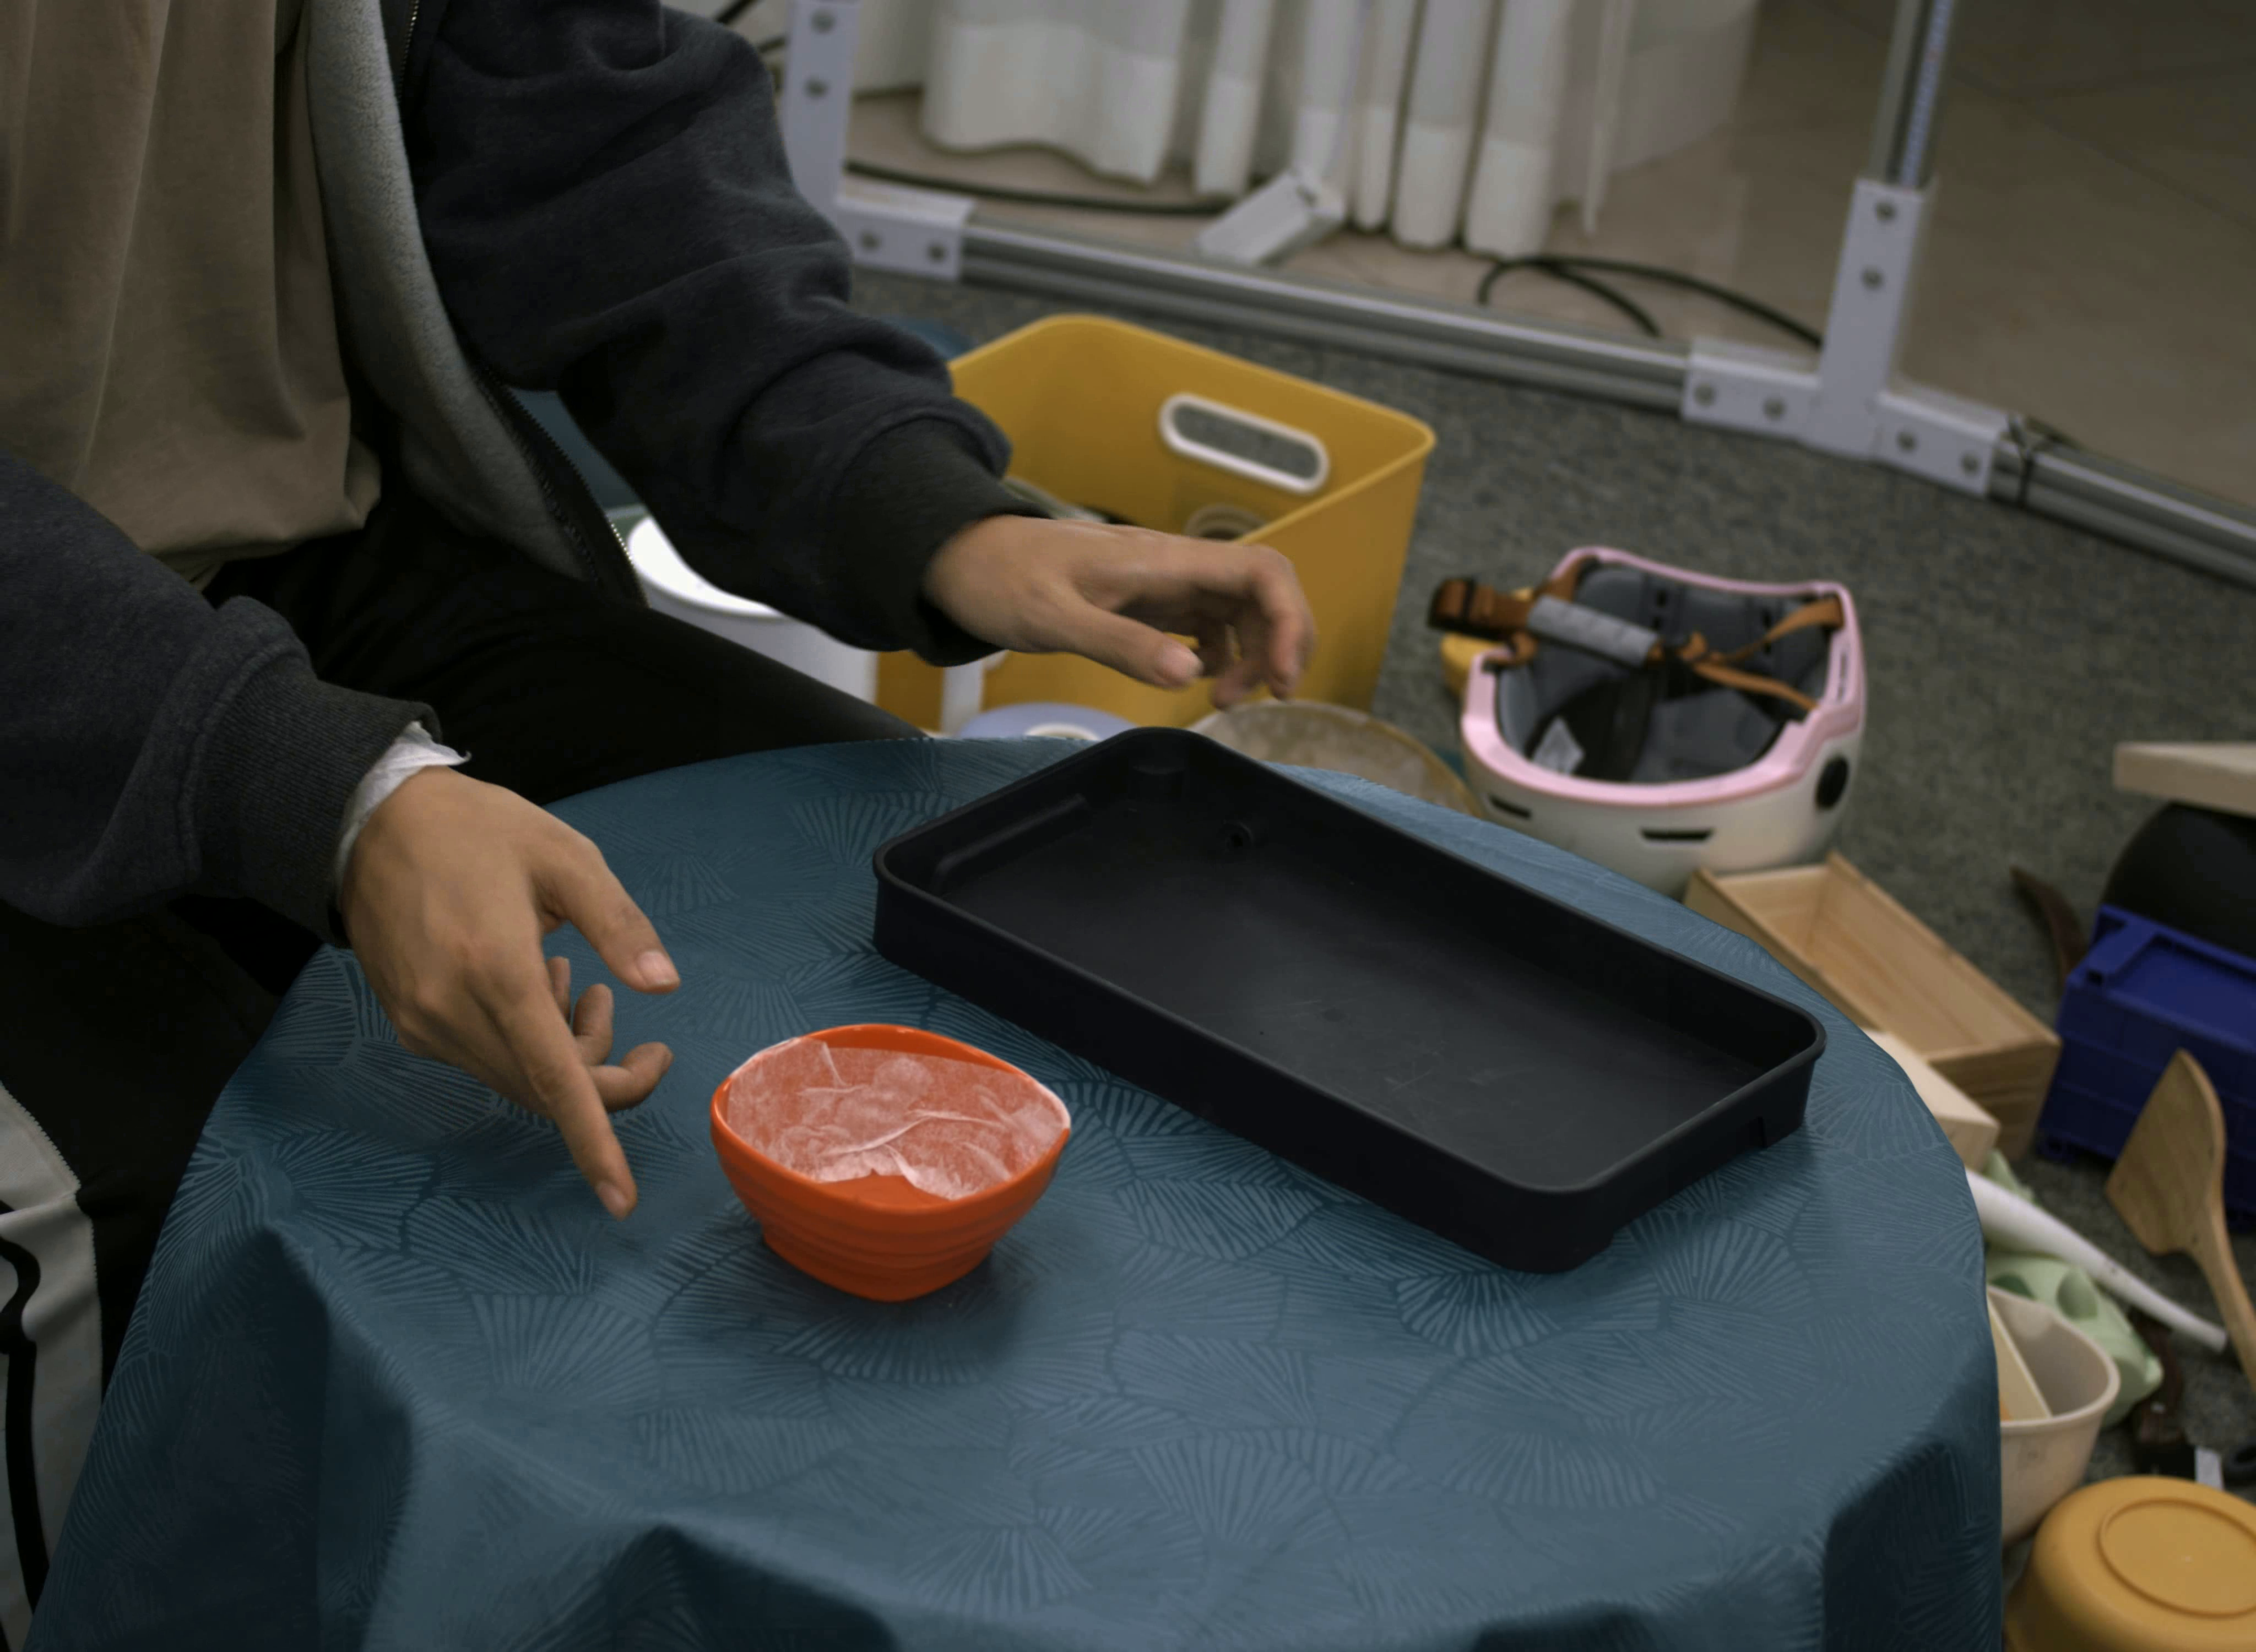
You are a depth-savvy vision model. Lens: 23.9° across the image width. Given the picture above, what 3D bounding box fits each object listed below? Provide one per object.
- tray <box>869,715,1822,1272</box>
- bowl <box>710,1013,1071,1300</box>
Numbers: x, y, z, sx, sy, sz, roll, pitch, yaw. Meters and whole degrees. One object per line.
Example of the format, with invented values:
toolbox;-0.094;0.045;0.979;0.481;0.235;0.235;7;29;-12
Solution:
tray;0.074;0.055;1.910;0.320;0.037;0.183;26;32;31
bowl;-0.080;0.113;1.744;0.118;0.051;0.119;6;29;-4
